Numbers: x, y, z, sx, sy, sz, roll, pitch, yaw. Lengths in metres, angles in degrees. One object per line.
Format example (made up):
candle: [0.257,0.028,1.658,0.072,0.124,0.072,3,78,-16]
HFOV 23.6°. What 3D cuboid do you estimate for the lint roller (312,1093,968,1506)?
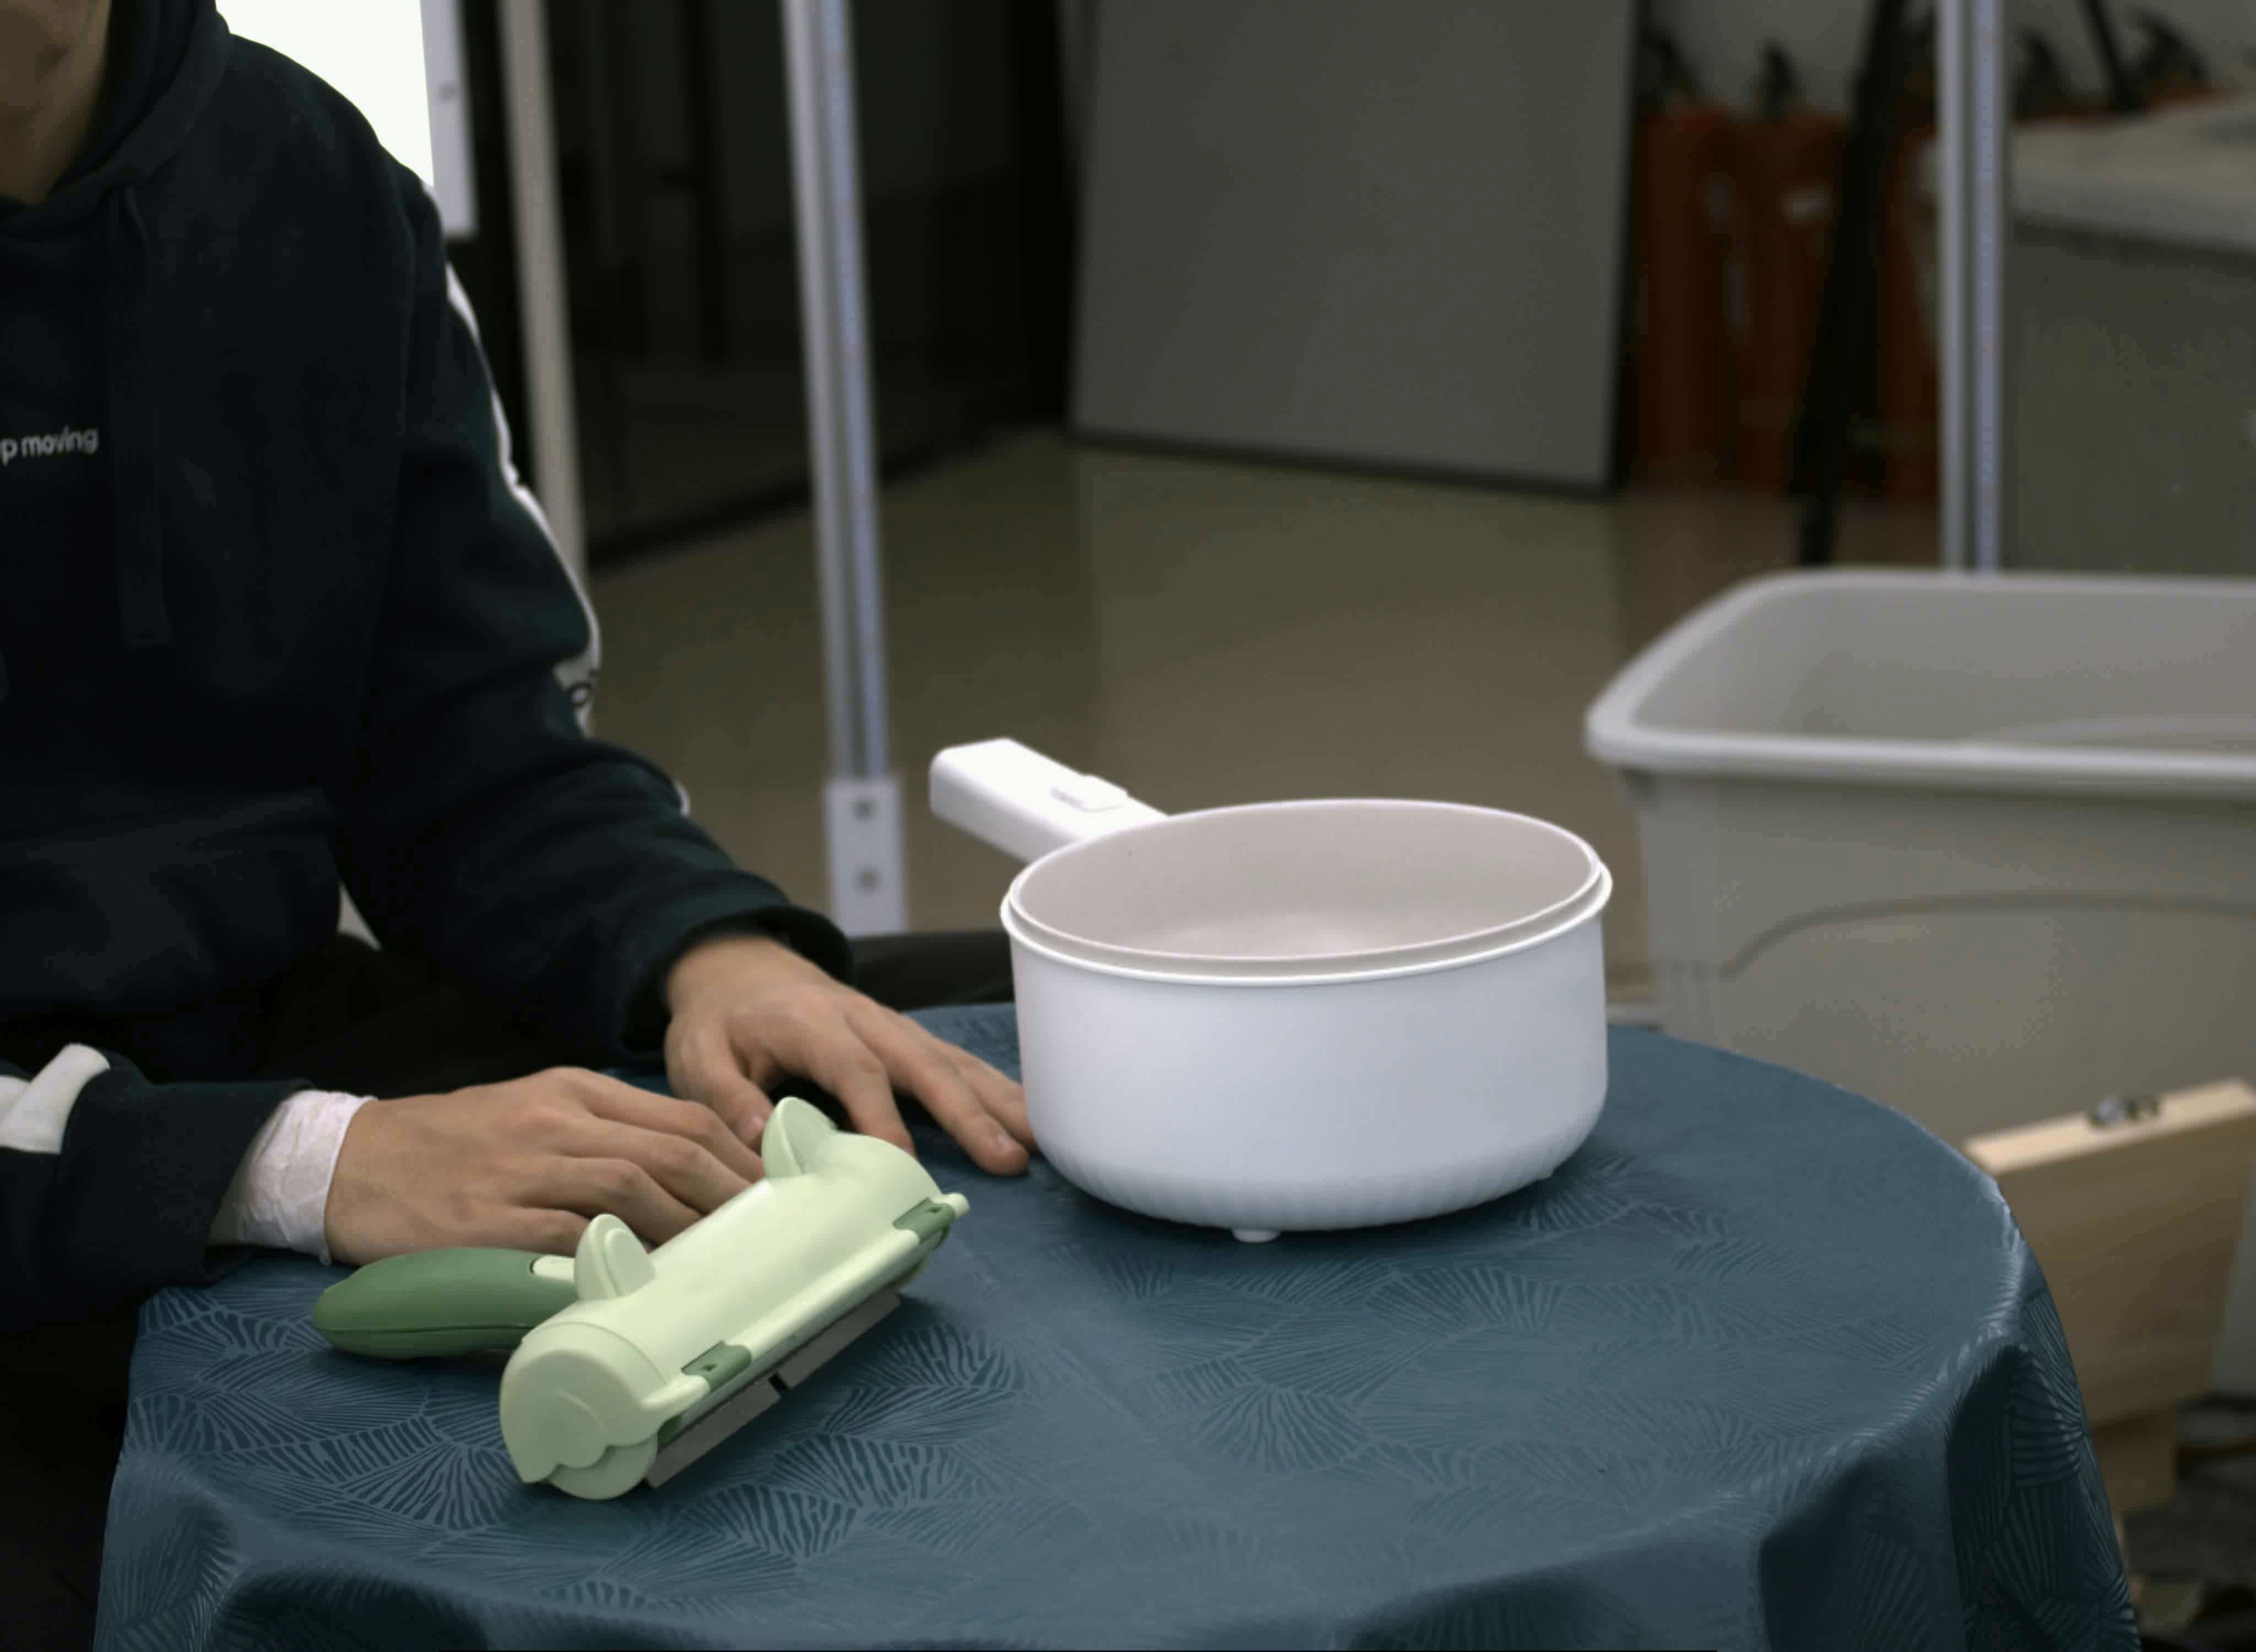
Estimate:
lint roller: [-0.168,0.130,1.626,0.183,0.083,0.196,8,18,24]

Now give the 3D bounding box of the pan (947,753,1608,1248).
pan: [0.027,0.052,1.839,0.197,0.103,0.358,-11,15,-24]
